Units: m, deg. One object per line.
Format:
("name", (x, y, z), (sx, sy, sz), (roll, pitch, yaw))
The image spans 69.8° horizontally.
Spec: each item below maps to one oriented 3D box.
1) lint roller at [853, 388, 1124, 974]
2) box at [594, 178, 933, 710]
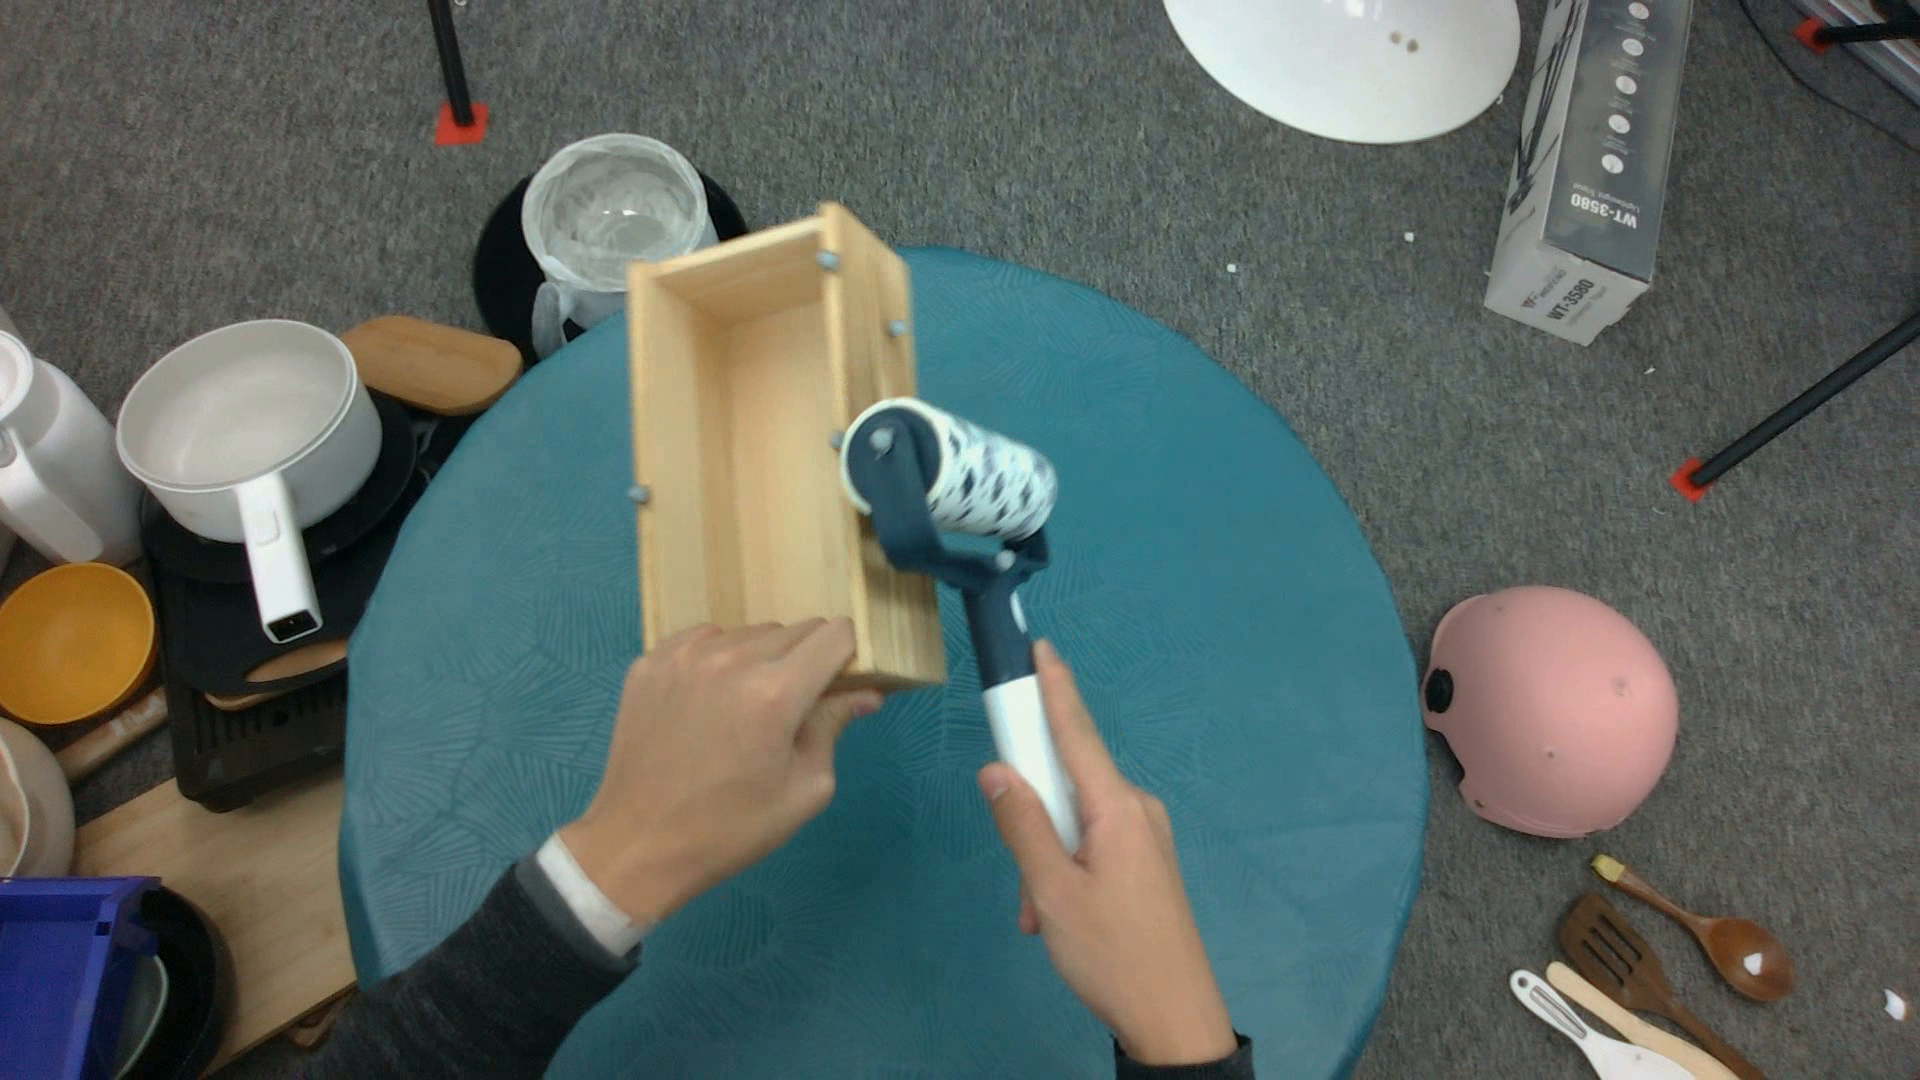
("lint roller", (0.029, 0.062, 0.599), (0.050, 0.176, 0.247), (-21, 82, 10))
("box", (-0.089, -0.038, 0.621), (0.107, 0.080, 0.212), (-14, 75, 19))
